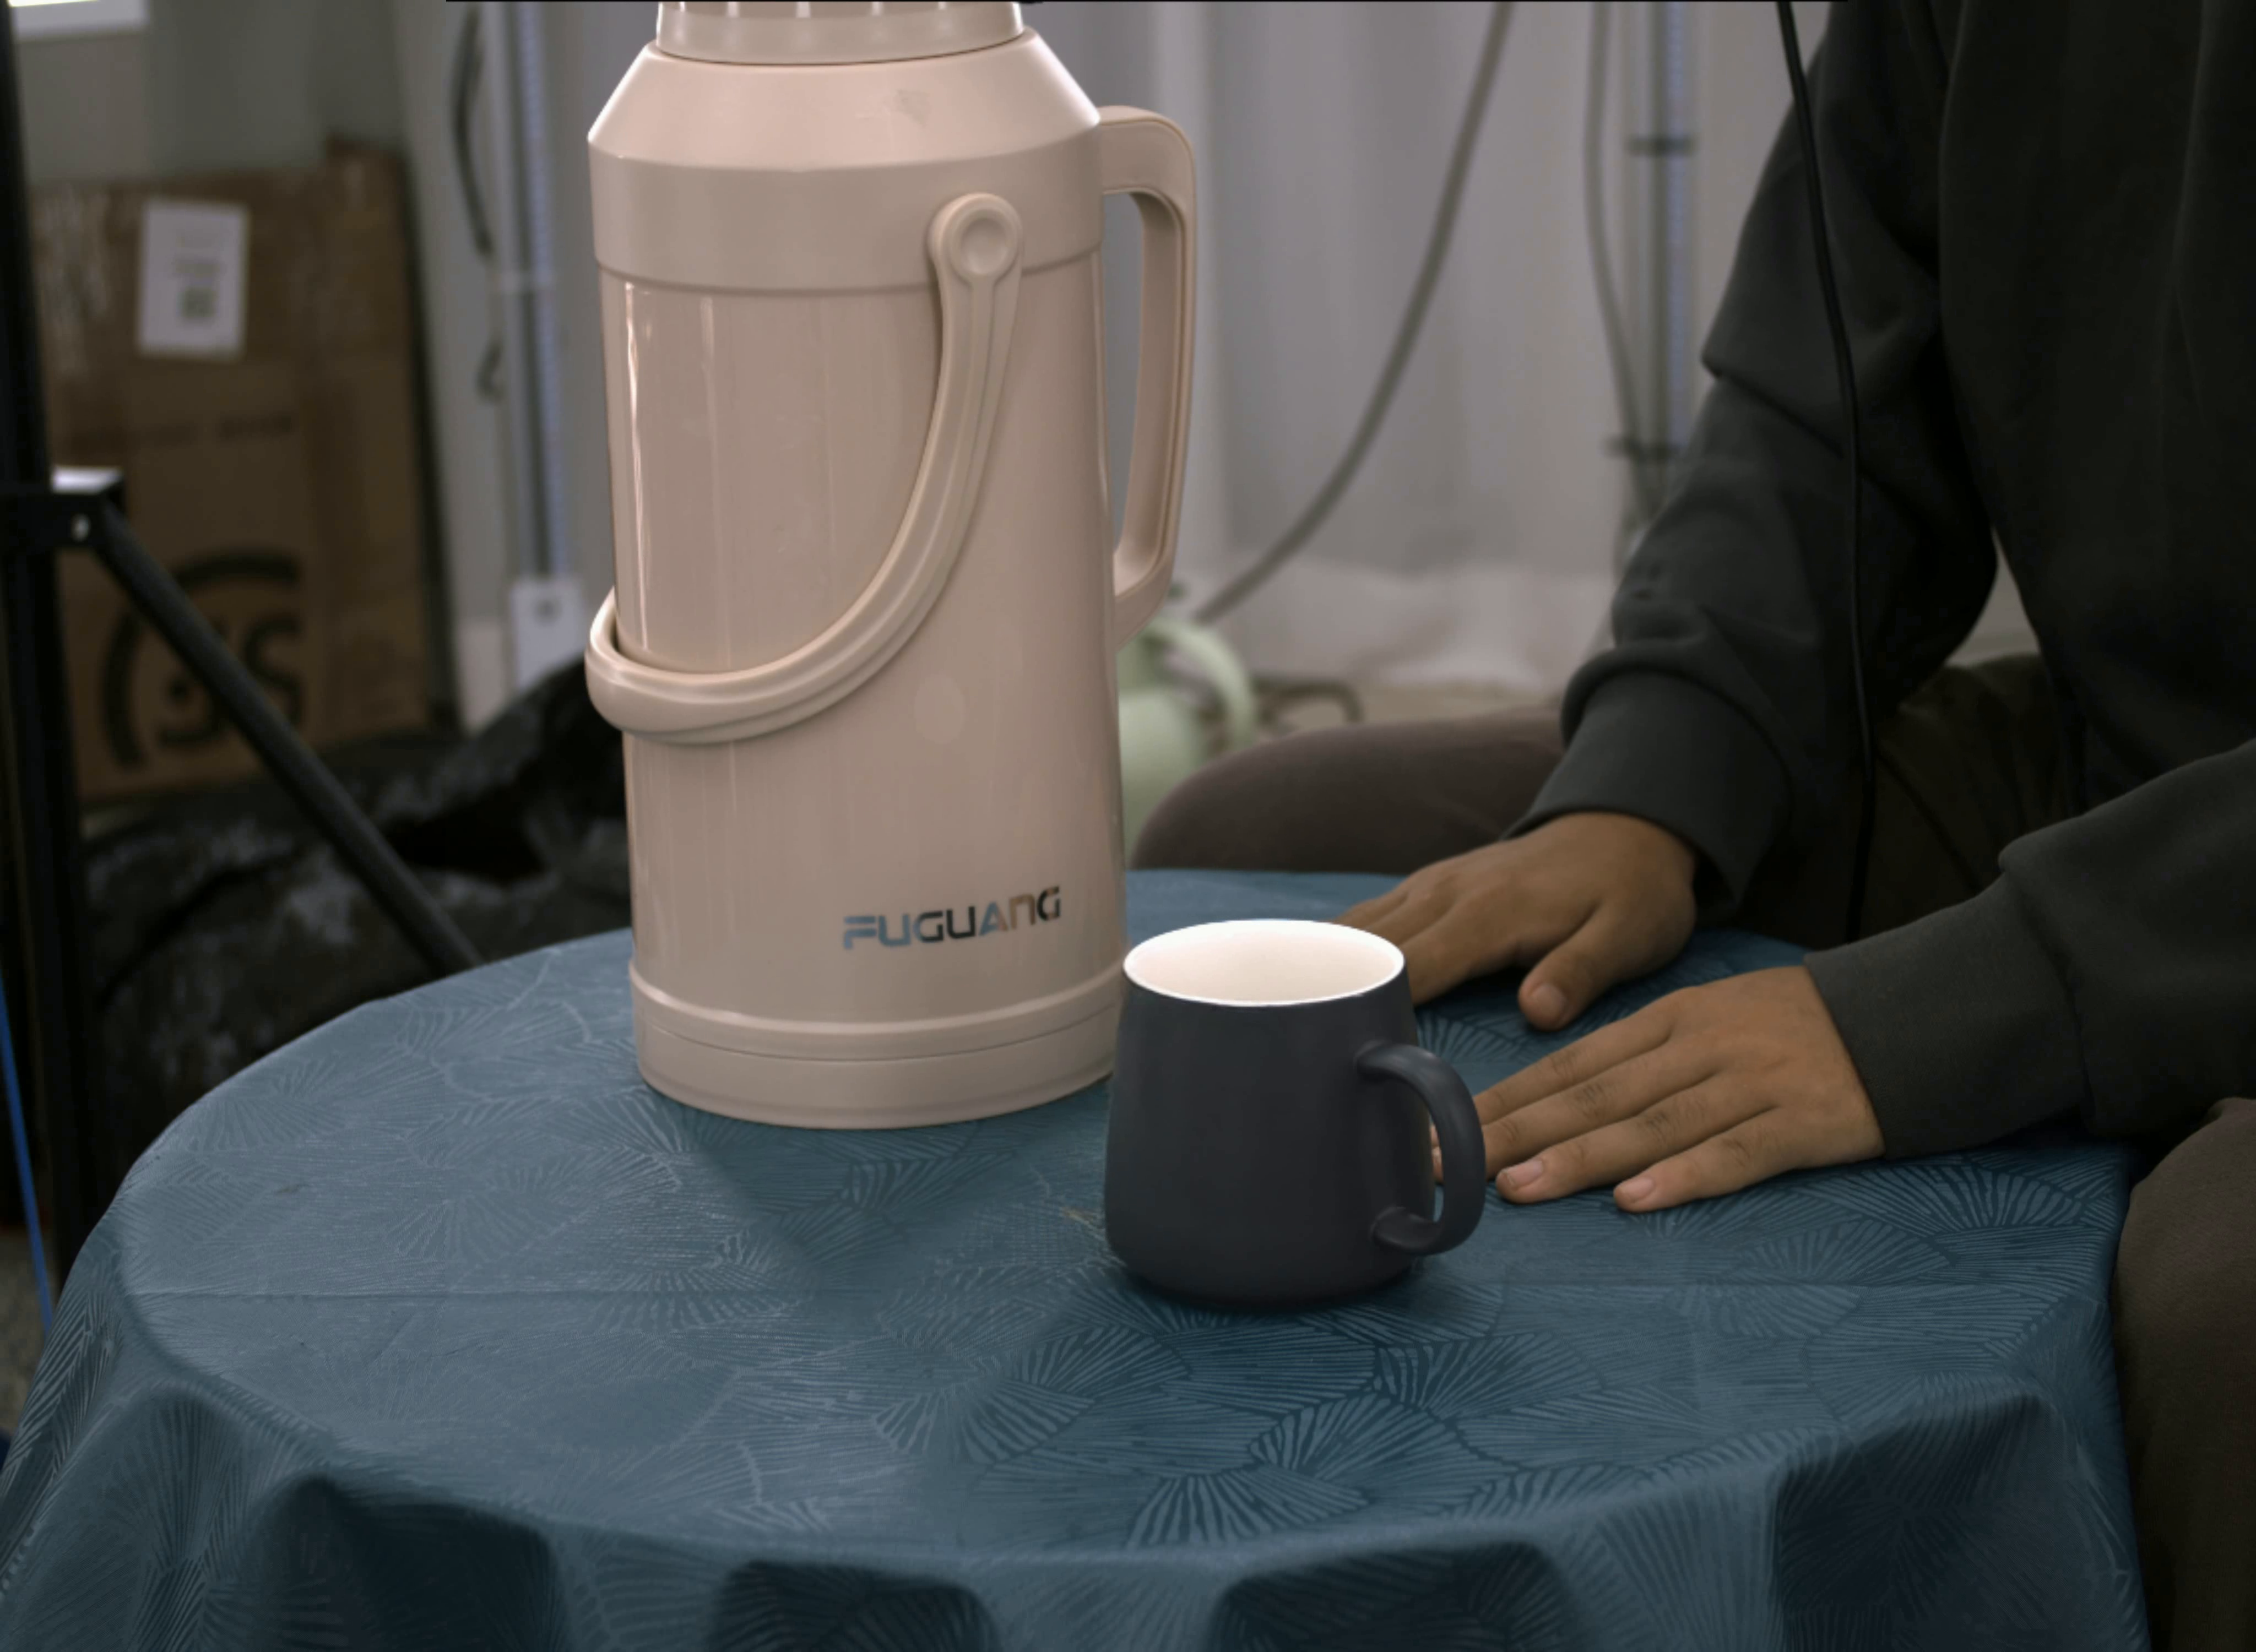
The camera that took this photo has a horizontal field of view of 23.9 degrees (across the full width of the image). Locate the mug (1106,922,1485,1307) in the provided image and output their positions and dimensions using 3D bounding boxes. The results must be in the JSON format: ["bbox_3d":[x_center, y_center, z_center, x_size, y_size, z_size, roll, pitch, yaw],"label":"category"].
[{"bbox_3d":[0.050,0.083,1.471,0.091,0.090,0.126,-15,20,-40],"label":"mug"}]

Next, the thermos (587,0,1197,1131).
[{"bbox_3d":[-0.070,-0.122,1.652,0.202,0.406,0.179,-10,17,-27],"label":"thermos"}]
